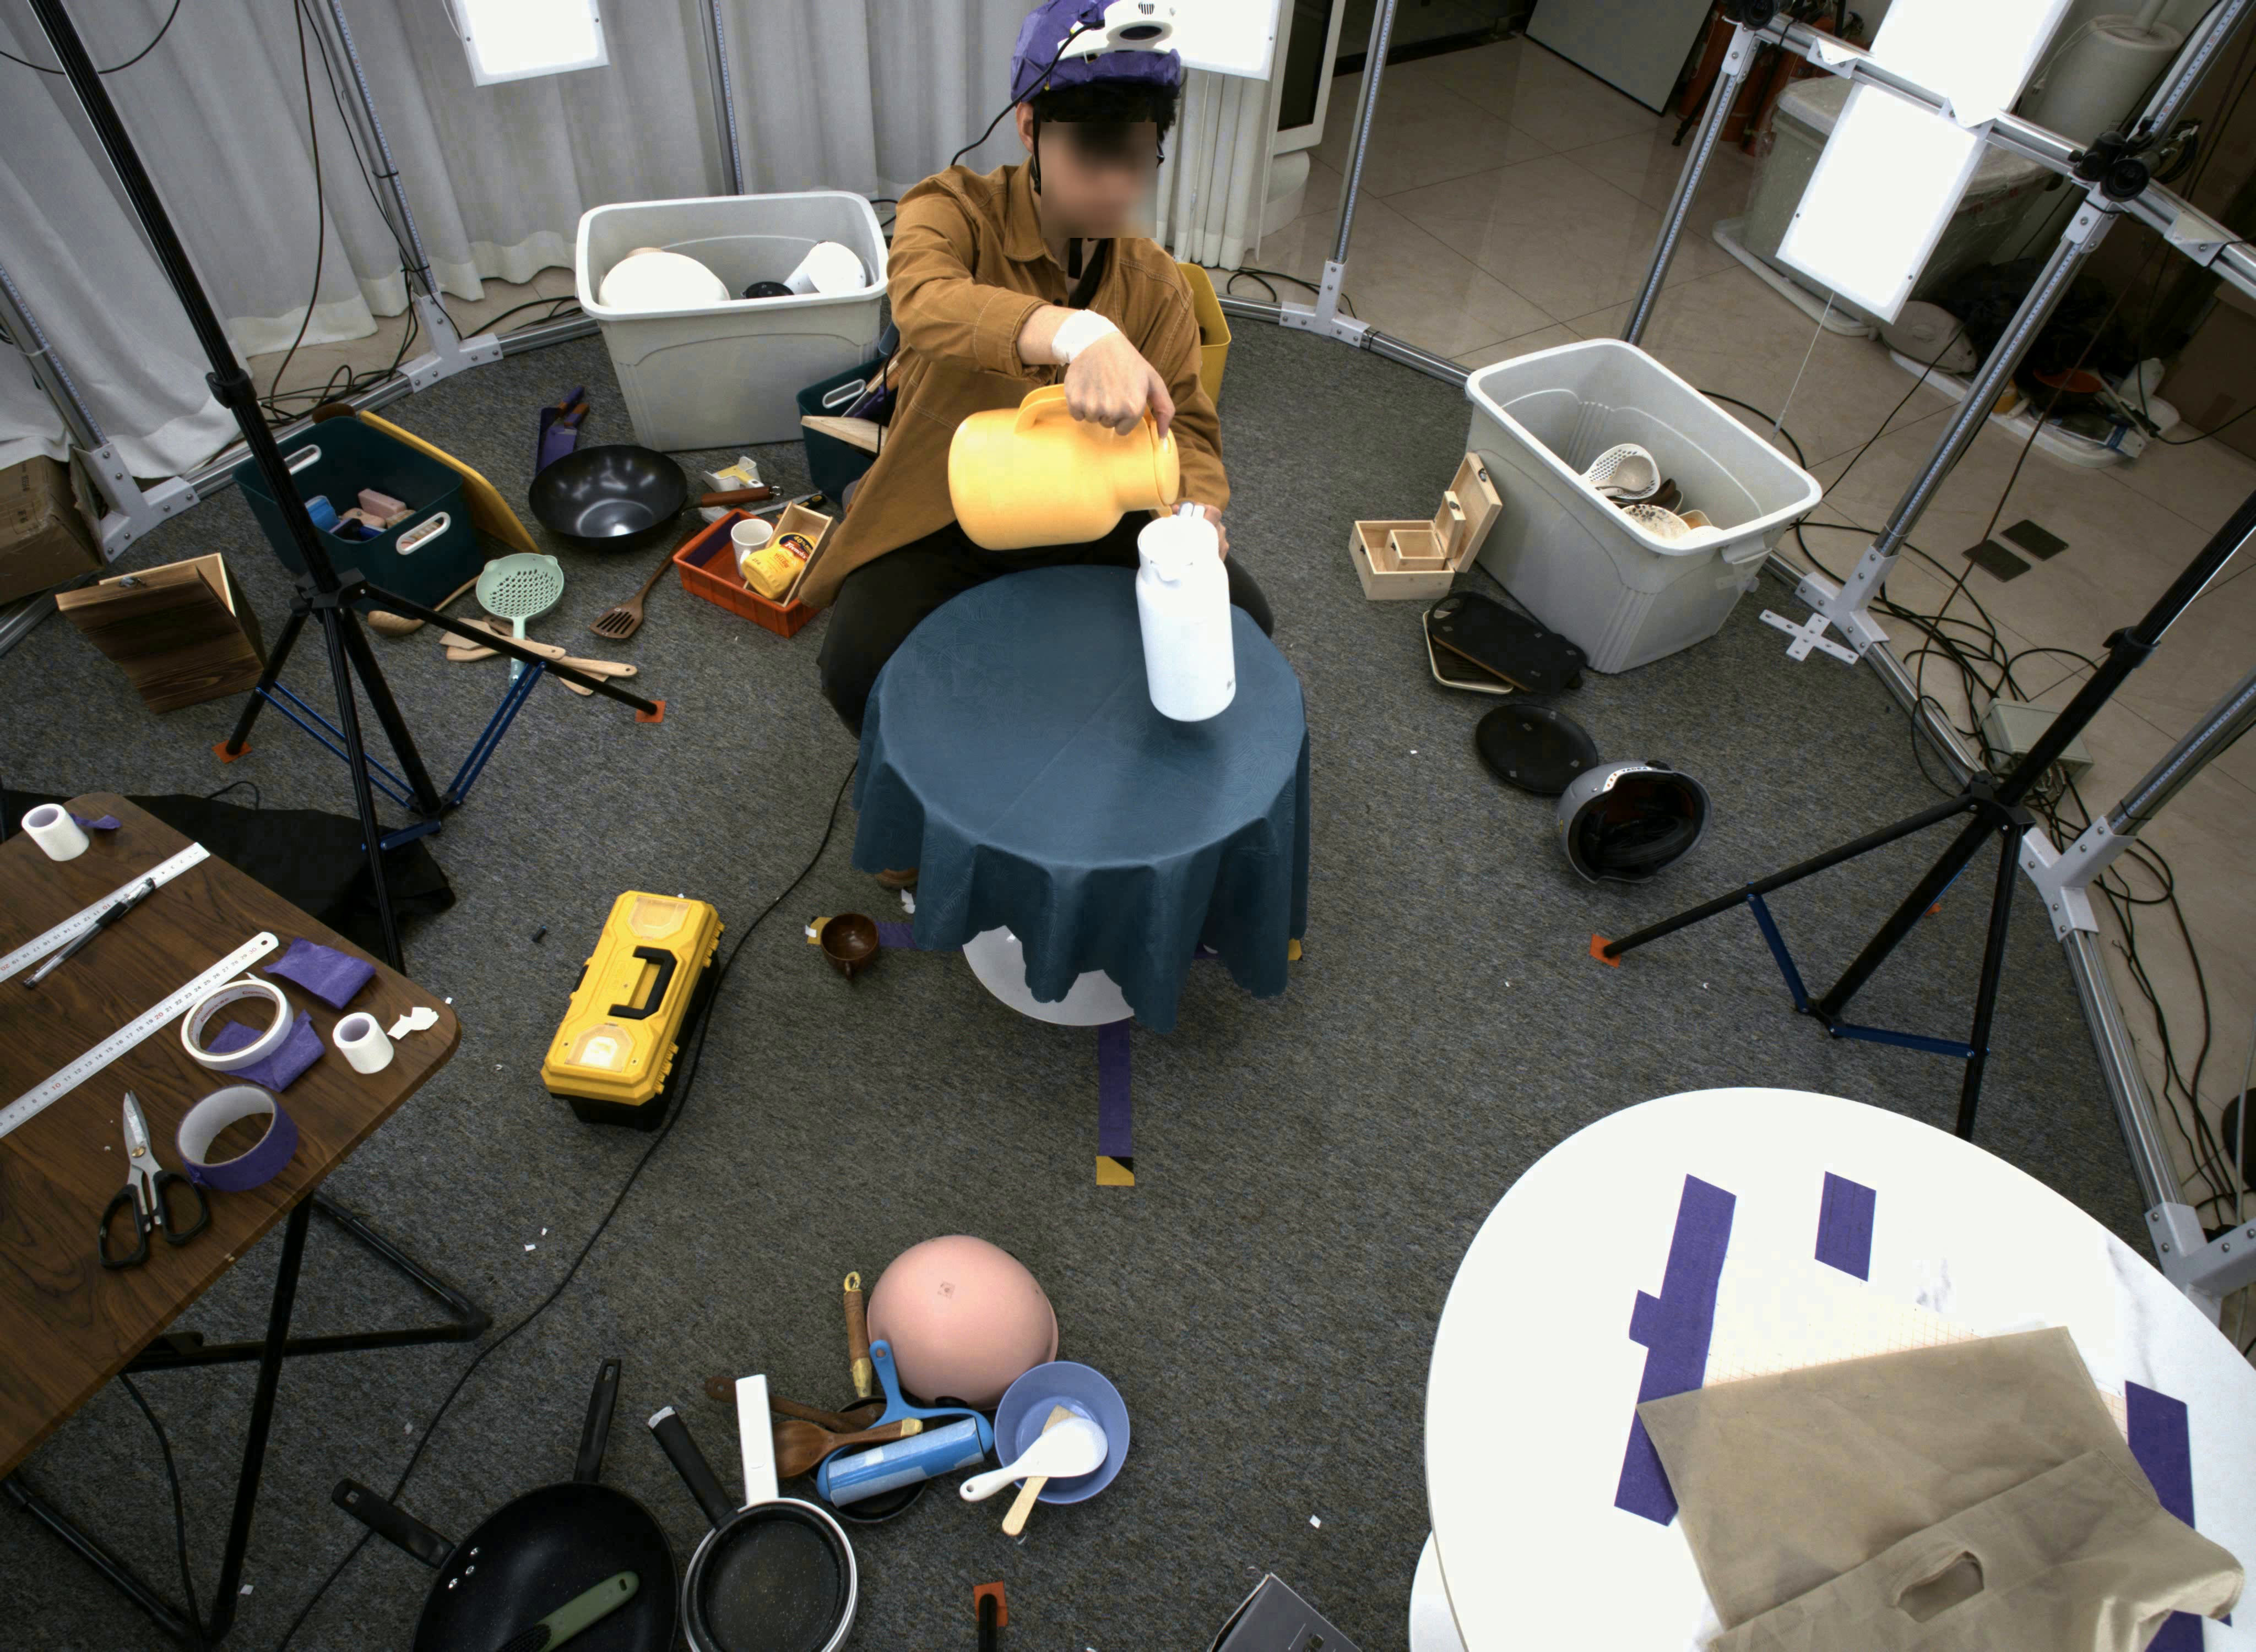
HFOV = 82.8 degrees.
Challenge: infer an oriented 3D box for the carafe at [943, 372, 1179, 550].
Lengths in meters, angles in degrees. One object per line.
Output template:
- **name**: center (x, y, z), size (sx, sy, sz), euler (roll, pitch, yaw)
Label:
- **carafe**: center (-0.076, -0.422, 1.480), size (0.260, 0.197, 0.167), euler (-3, 53, 12)

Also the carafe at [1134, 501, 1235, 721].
- **carafe**: center (0.075, -0.279, 1.665), size (0.124, 0.262, 0.177), euler (3, 49, 15)
